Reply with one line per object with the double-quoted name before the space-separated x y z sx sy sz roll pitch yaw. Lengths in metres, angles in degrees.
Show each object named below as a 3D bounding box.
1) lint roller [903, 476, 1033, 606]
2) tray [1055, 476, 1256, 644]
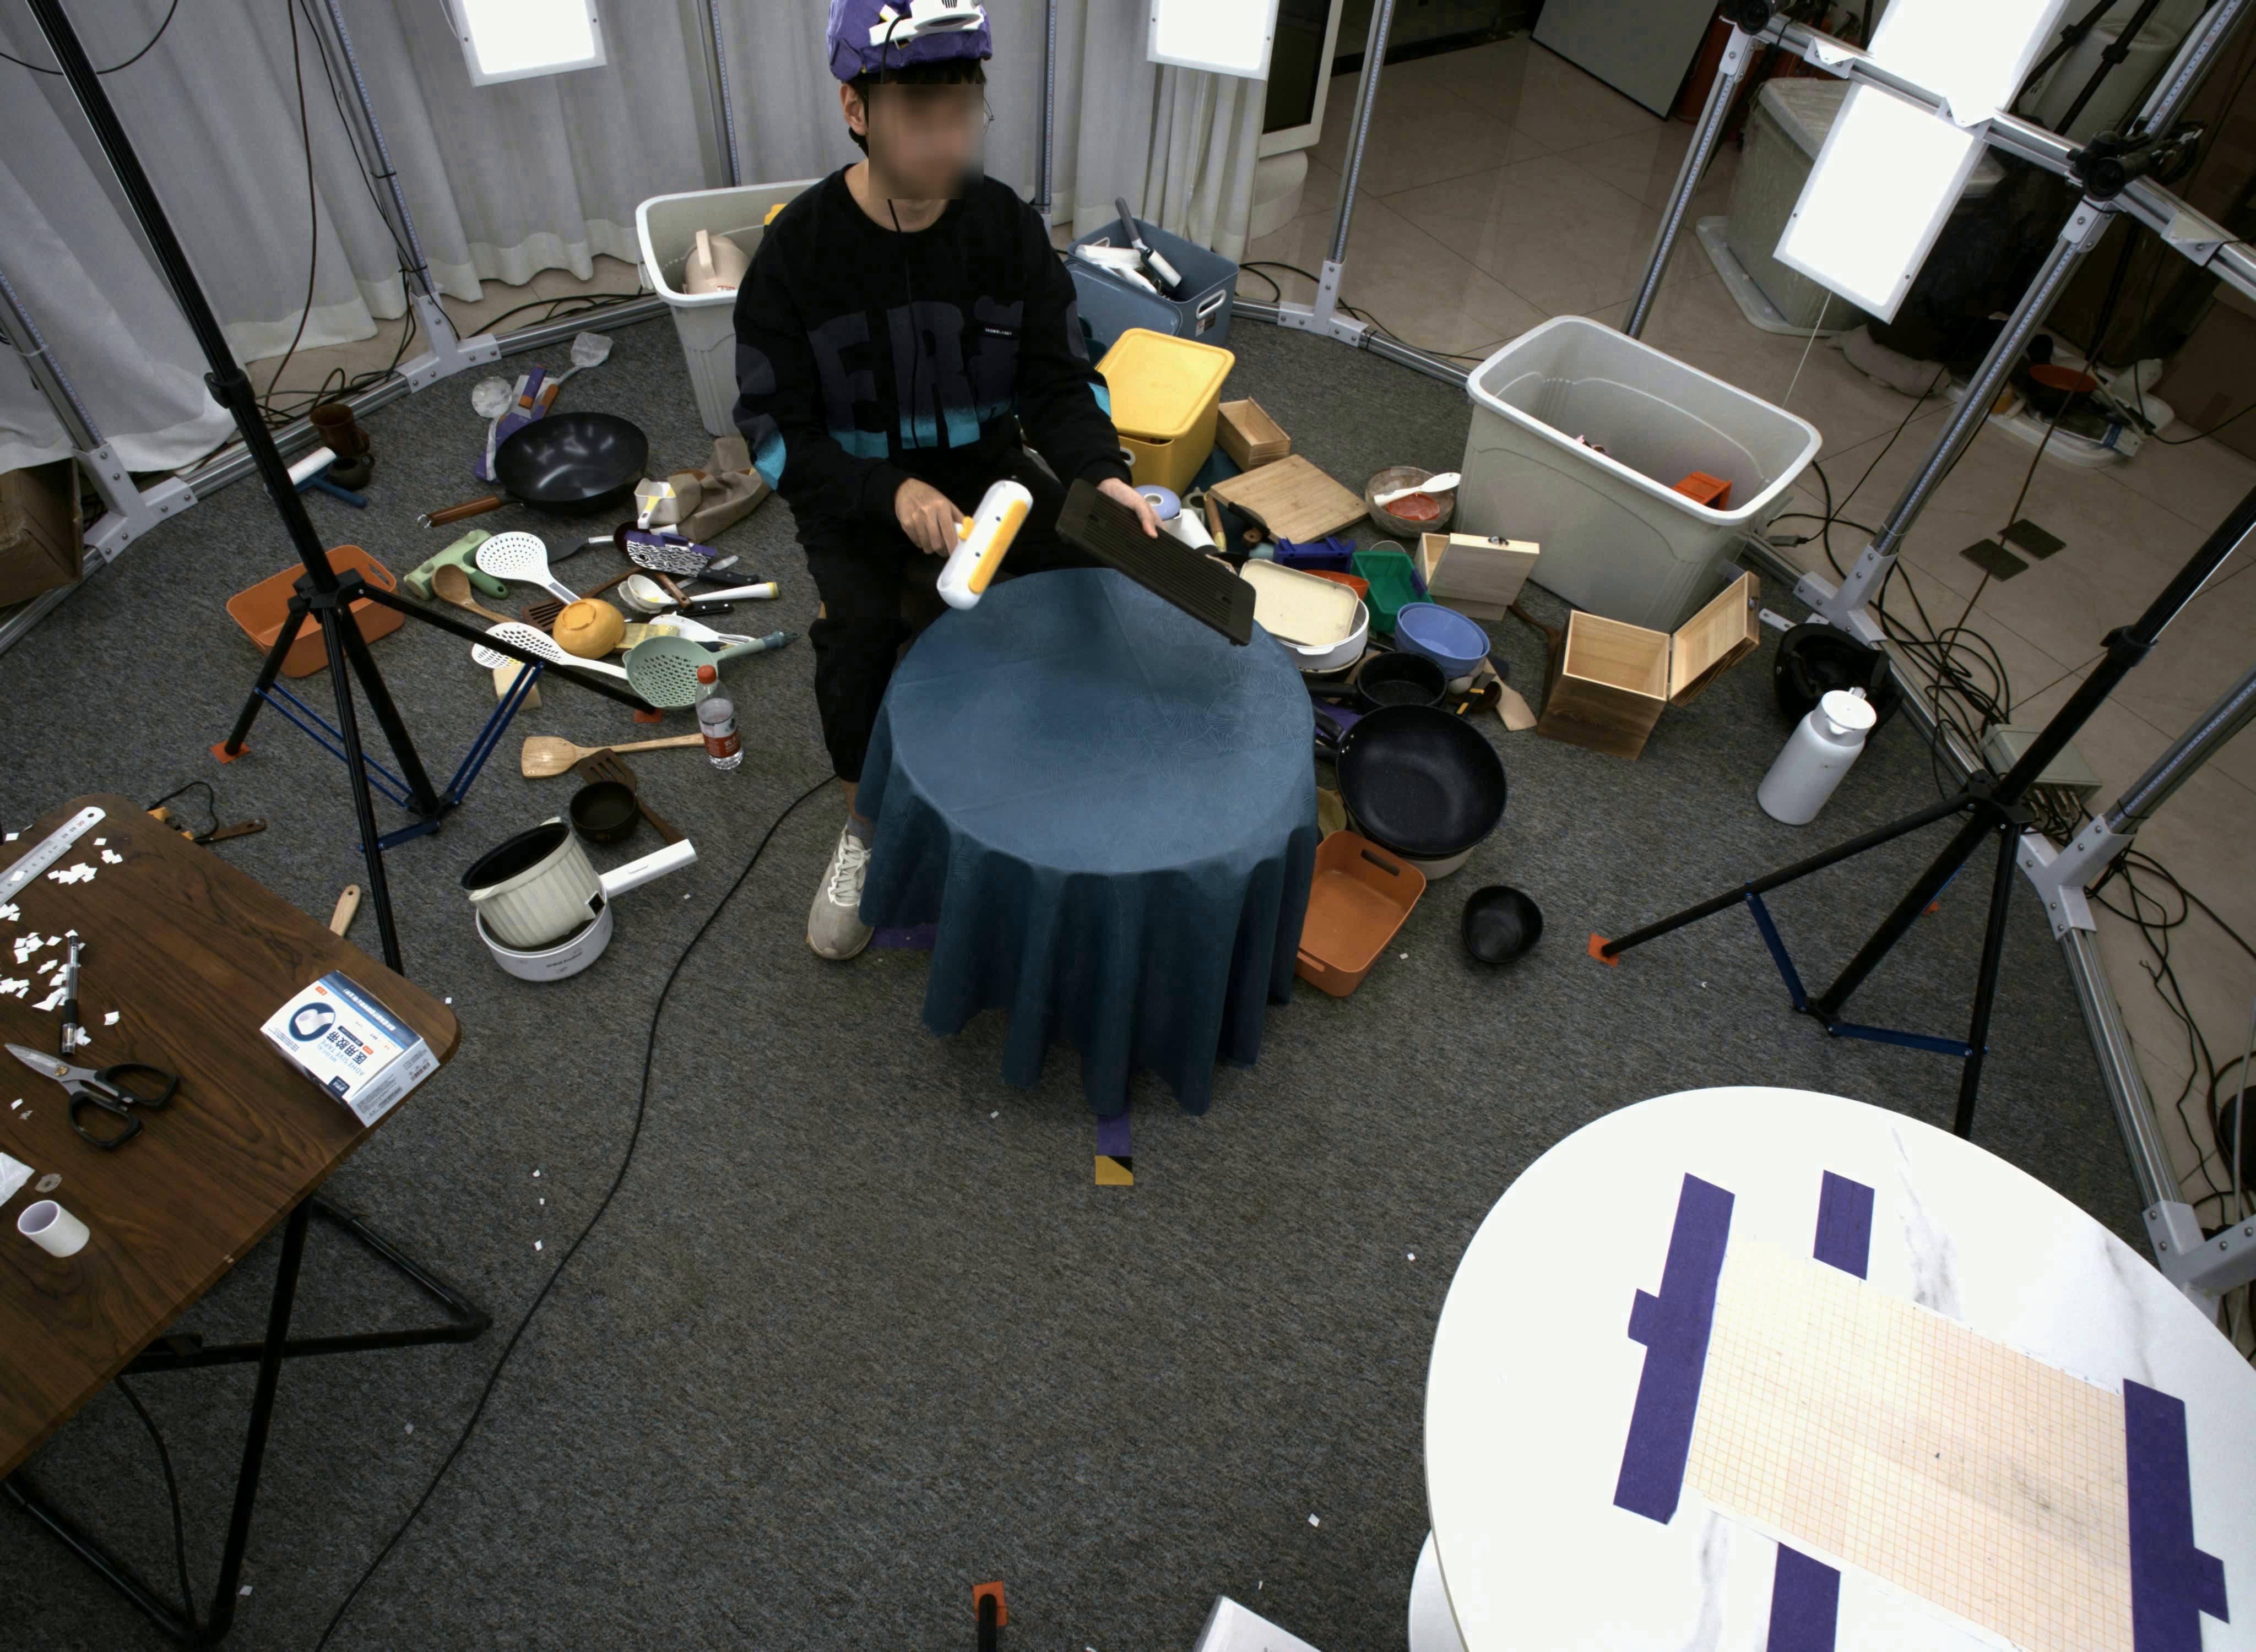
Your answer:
"lint roller" -0.238 -0.407 1.815 0.194 0.073 0.194 15 80 44
"tray" 0.042 -0.363 1.764 0.304 0.018 0.174 29 35 -12
